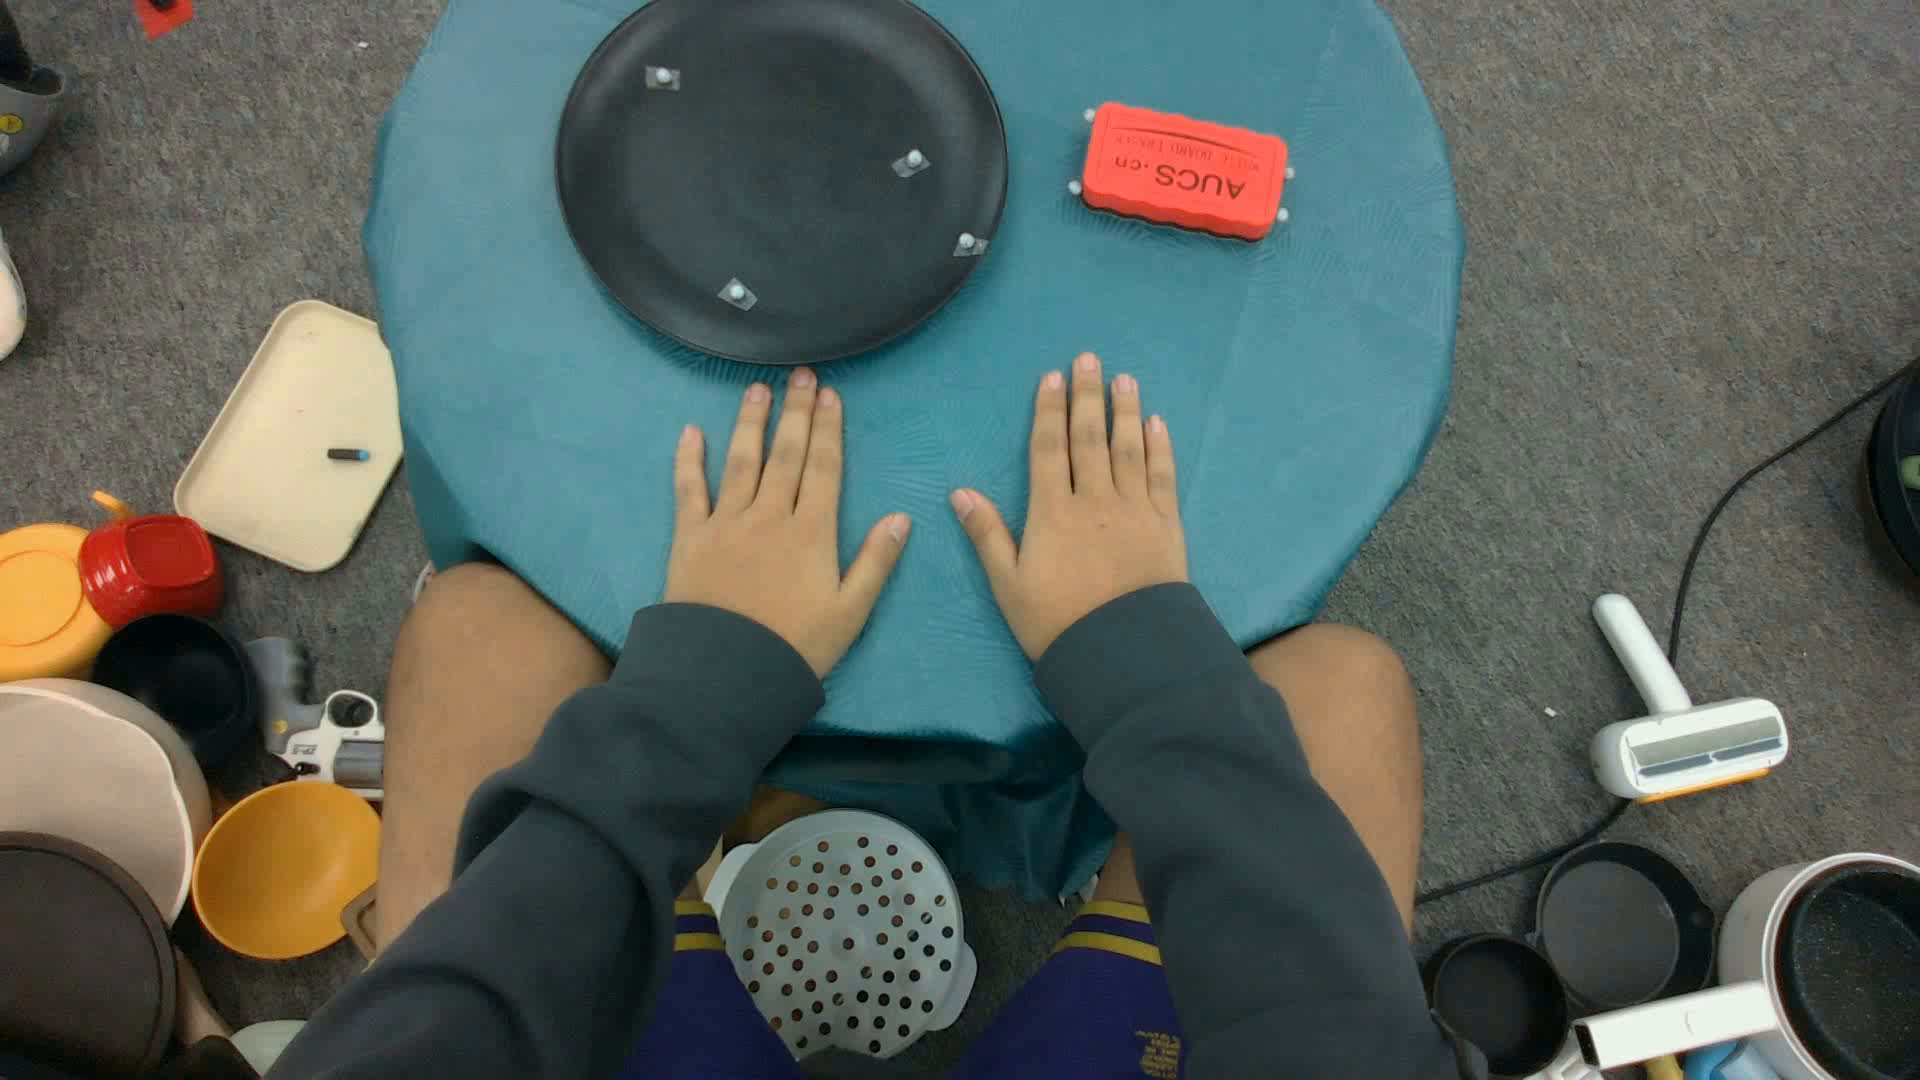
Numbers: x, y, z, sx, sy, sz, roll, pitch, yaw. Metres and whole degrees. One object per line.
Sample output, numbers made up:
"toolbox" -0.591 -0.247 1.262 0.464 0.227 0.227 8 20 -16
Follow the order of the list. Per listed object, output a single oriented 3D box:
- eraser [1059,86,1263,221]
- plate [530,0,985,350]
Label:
"eraser" 0.111 -0.215 0.765 0.108 0.023 0.059 11 72 0
"plate" -0.108 -0.213 0.750 0.244 0.023 0.245 1 74 -4
